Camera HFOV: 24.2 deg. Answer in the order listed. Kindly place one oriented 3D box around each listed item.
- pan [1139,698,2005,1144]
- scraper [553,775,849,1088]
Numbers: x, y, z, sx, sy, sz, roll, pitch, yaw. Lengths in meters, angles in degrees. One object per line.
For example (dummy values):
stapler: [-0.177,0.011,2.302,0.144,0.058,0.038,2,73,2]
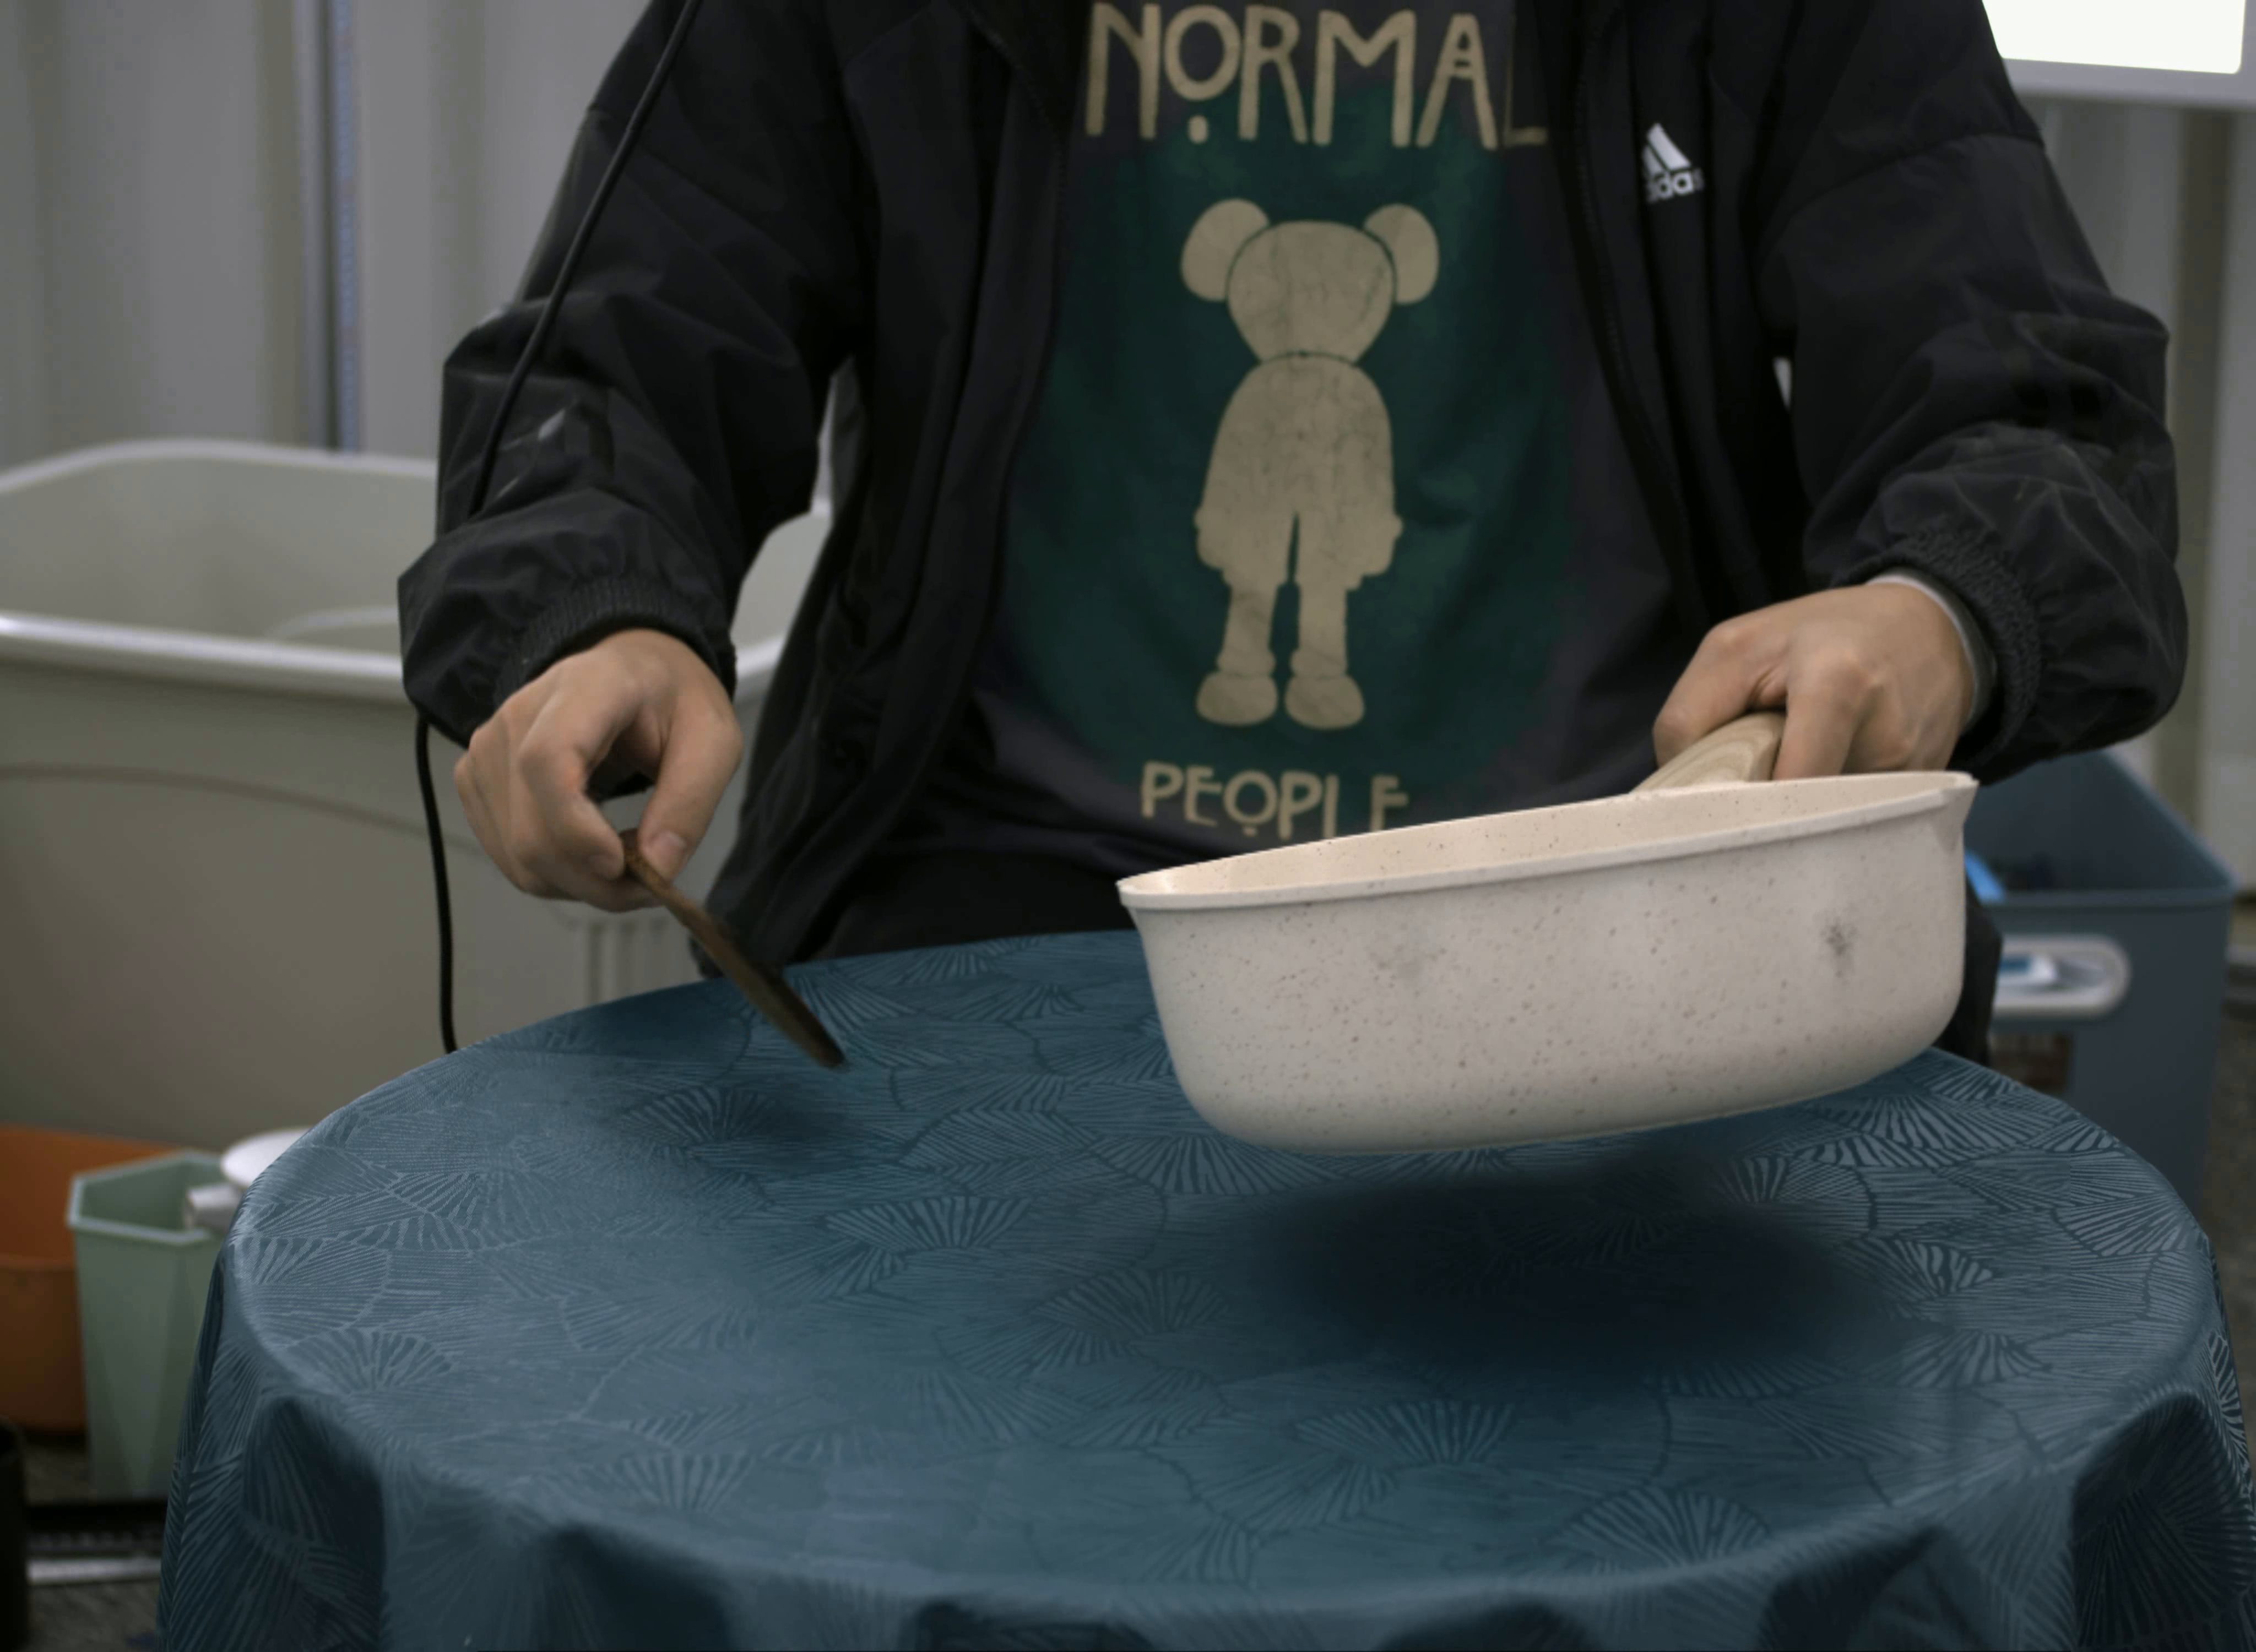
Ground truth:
pan: [0.166,0.023,1.626,0.261,0.102,0.437,-9,1,22]
scraper: [-0.148,0.025,1.732,0.011,0.077,0.208,-35,31,-12]
